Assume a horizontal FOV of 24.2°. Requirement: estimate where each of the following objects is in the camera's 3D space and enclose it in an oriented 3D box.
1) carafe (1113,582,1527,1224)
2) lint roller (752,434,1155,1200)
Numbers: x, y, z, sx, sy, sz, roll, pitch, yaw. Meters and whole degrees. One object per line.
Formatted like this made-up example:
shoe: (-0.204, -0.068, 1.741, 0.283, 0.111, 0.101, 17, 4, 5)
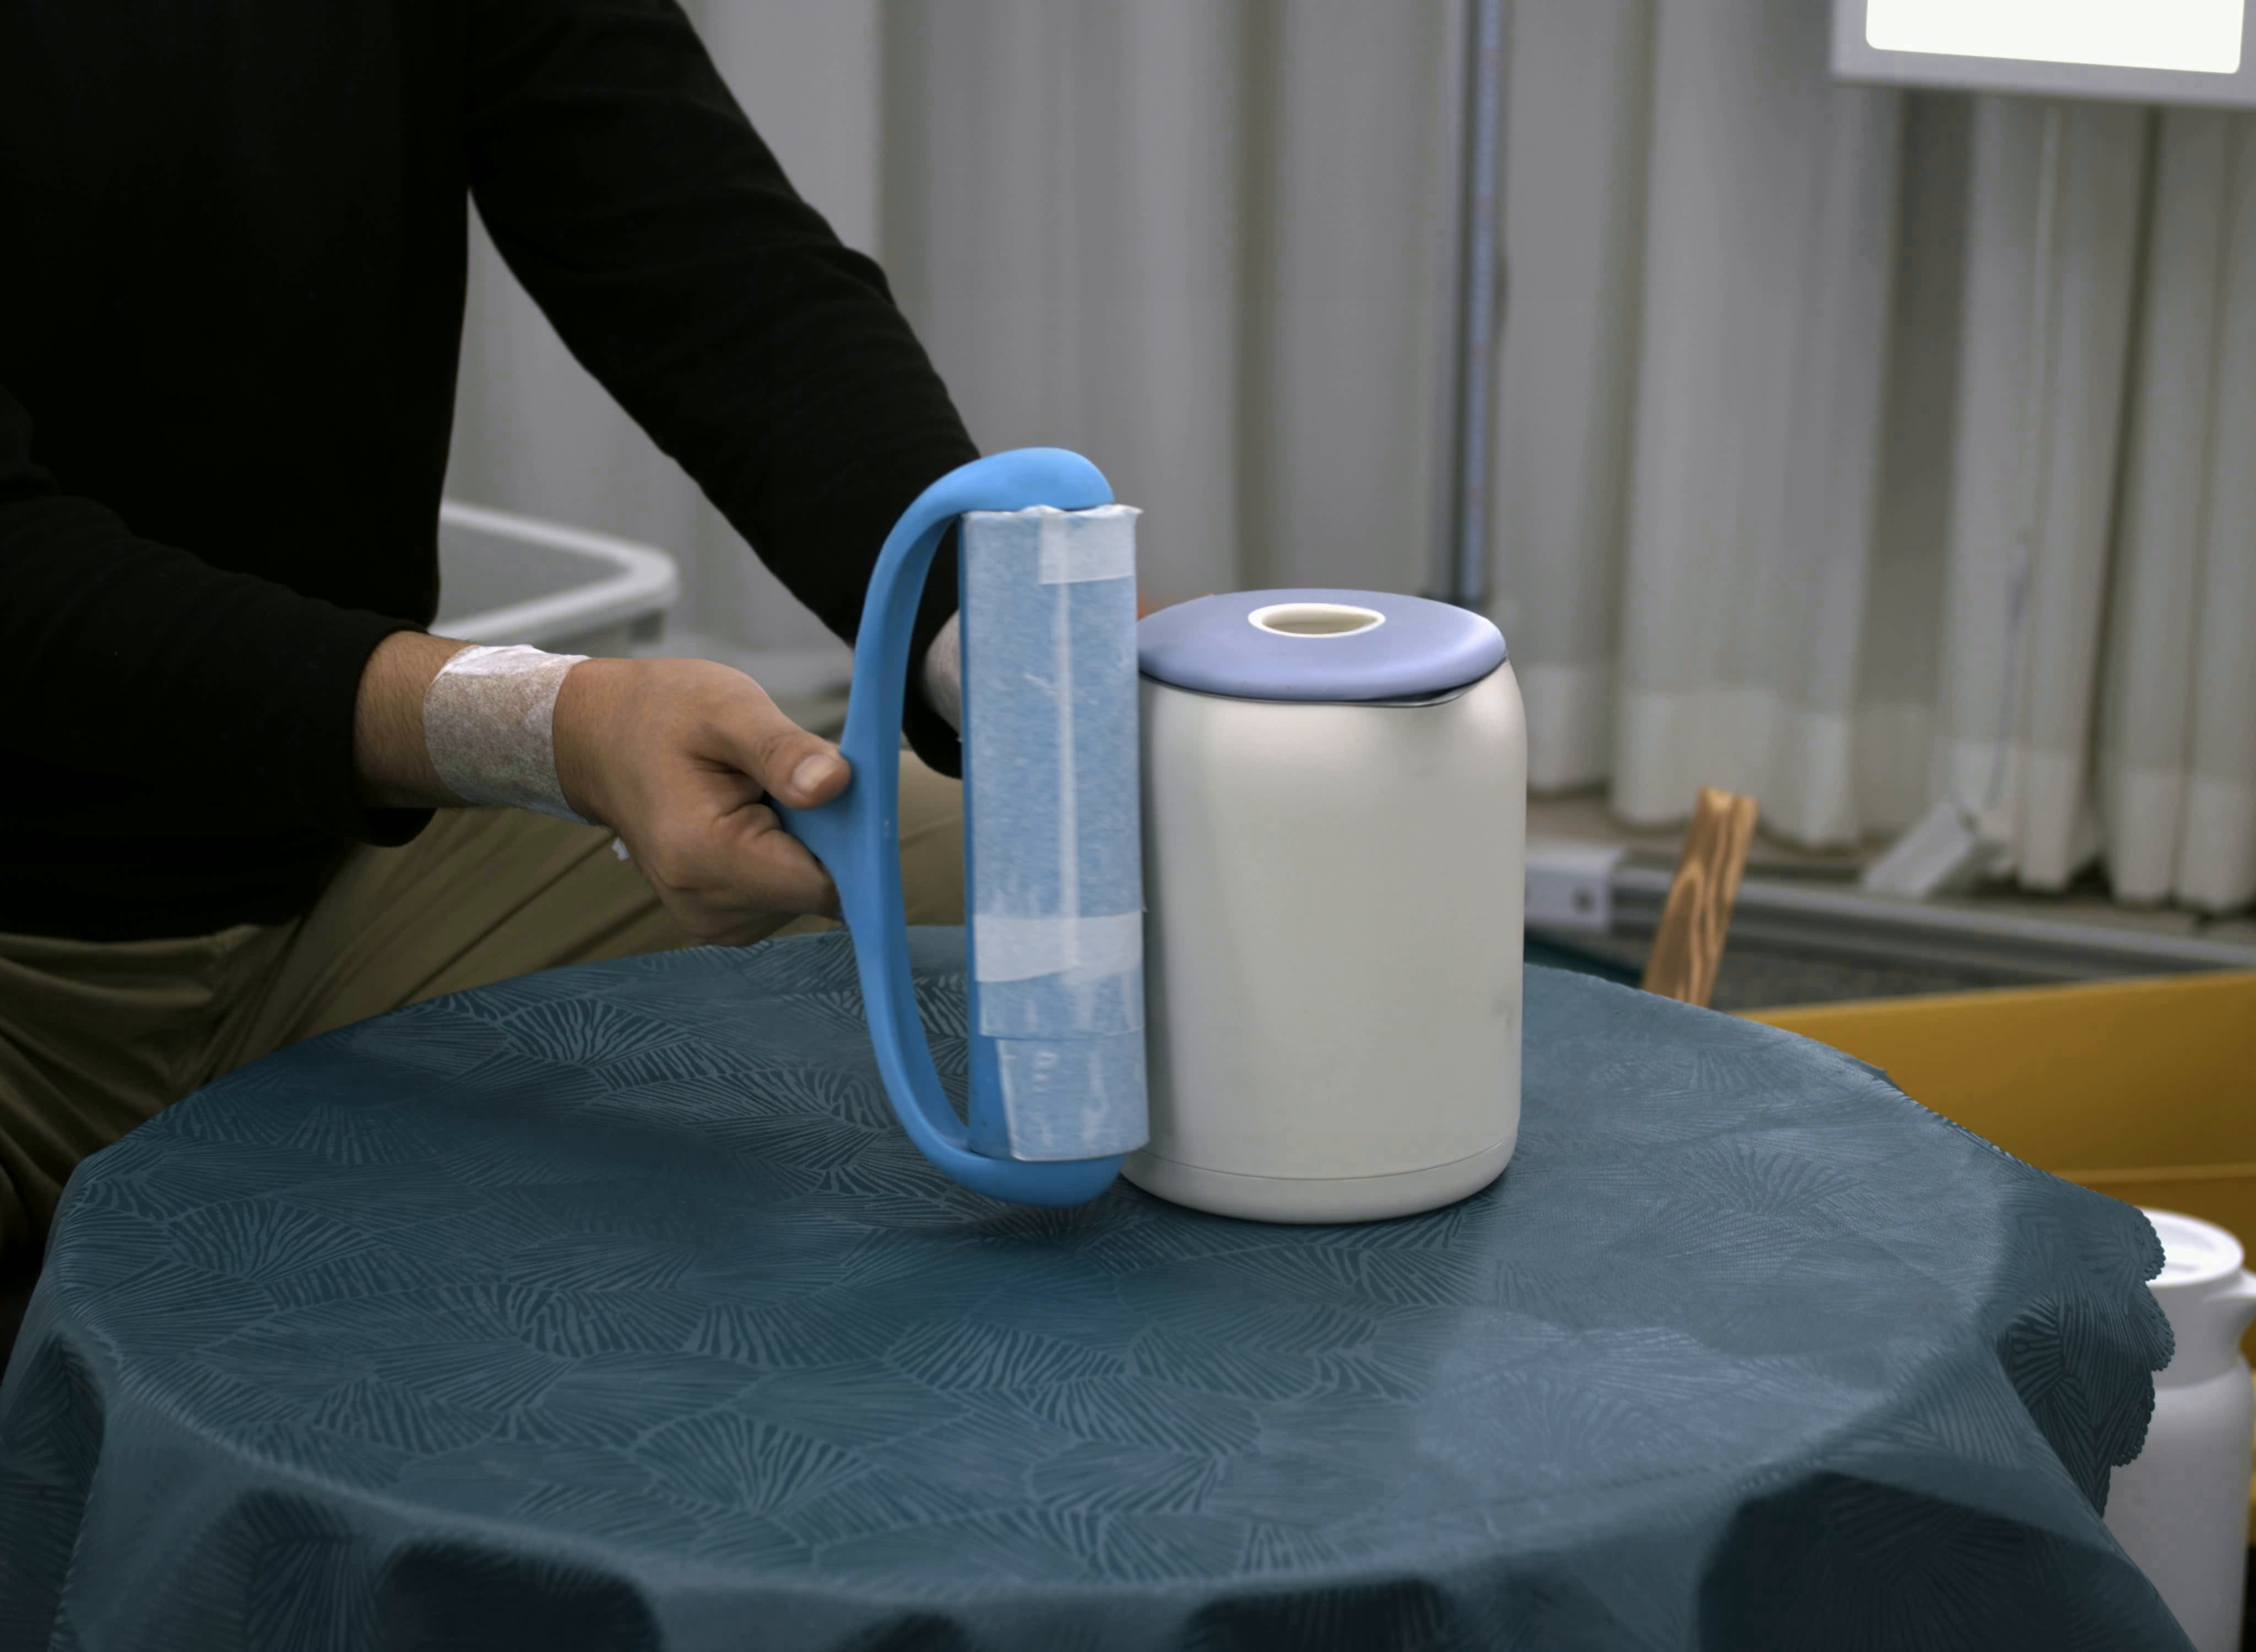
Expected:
carafe: (0.045, 0.017, 1.643, 0.133, 0.184, 0.188, -8, 16, -30)
lint roller: (-0.067, -0.003, 1.609, 0.178, 0.230, 0.068, 2, 9, 40)
